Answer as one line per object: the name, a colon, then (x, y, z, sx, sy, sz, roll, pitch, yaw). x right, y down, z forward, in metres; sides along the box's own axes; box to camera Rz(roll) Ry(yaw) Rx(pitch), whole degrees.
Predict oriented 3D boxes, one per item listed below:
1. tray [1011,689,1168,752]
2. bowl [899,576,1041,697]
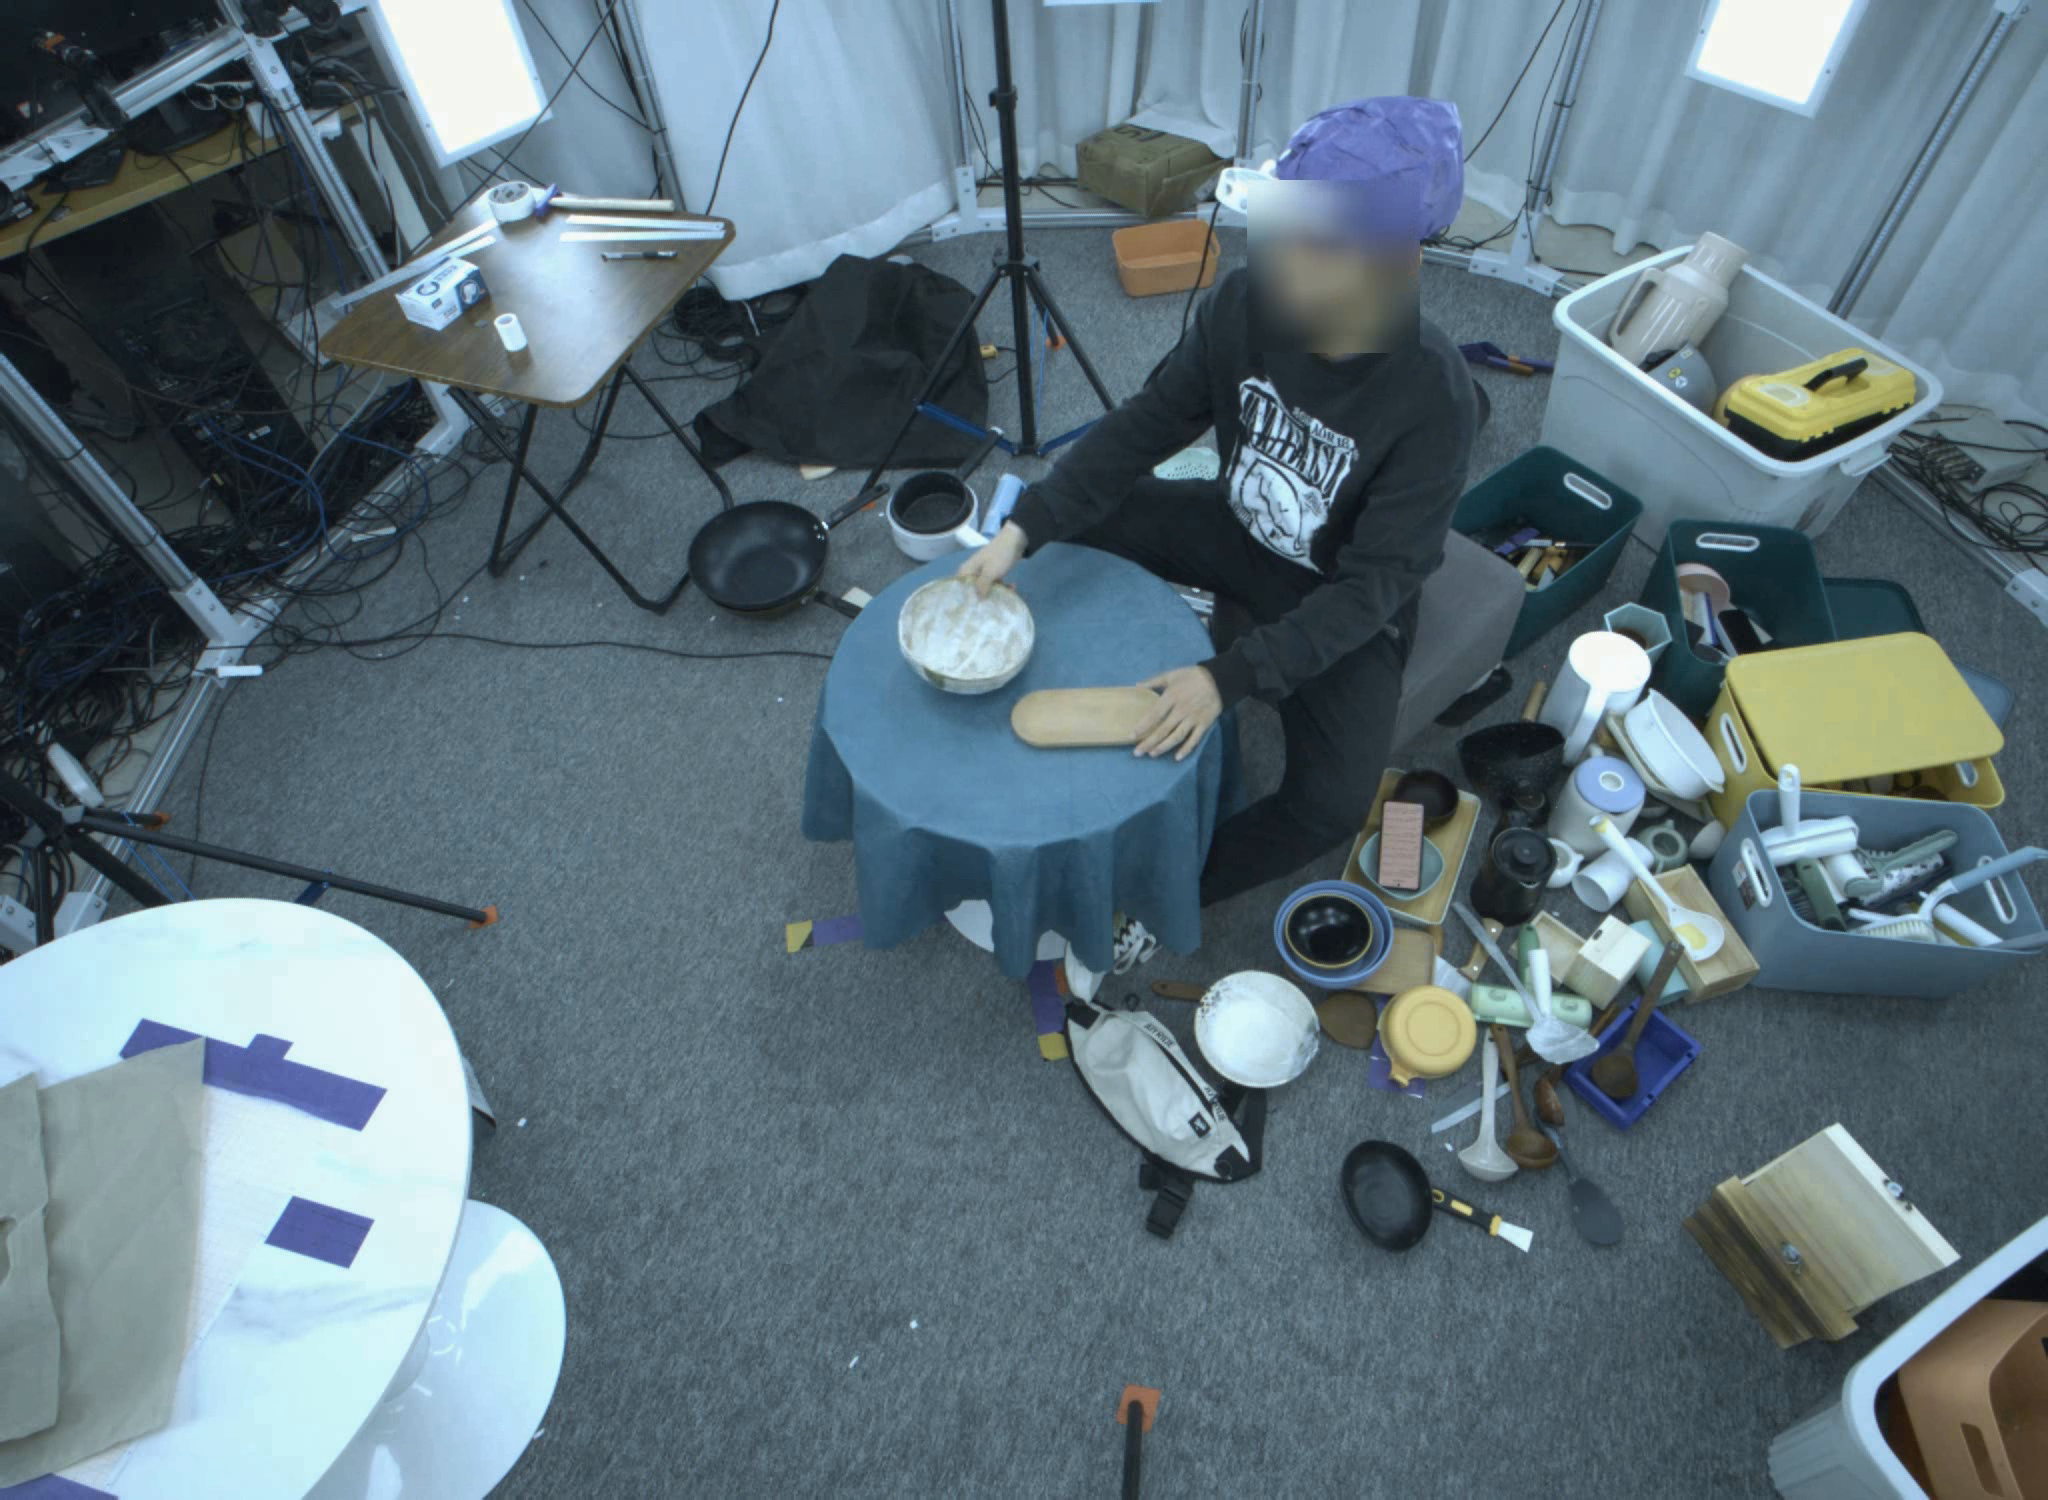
tray: (0.096, -0.043, 1.816, 0.231, 0.020, 0.100, -4, 53, 1)
bowl: (-0.083, -0.151, 1.846, 0.215, 0.095, 0.212, 4, 55, -4)
